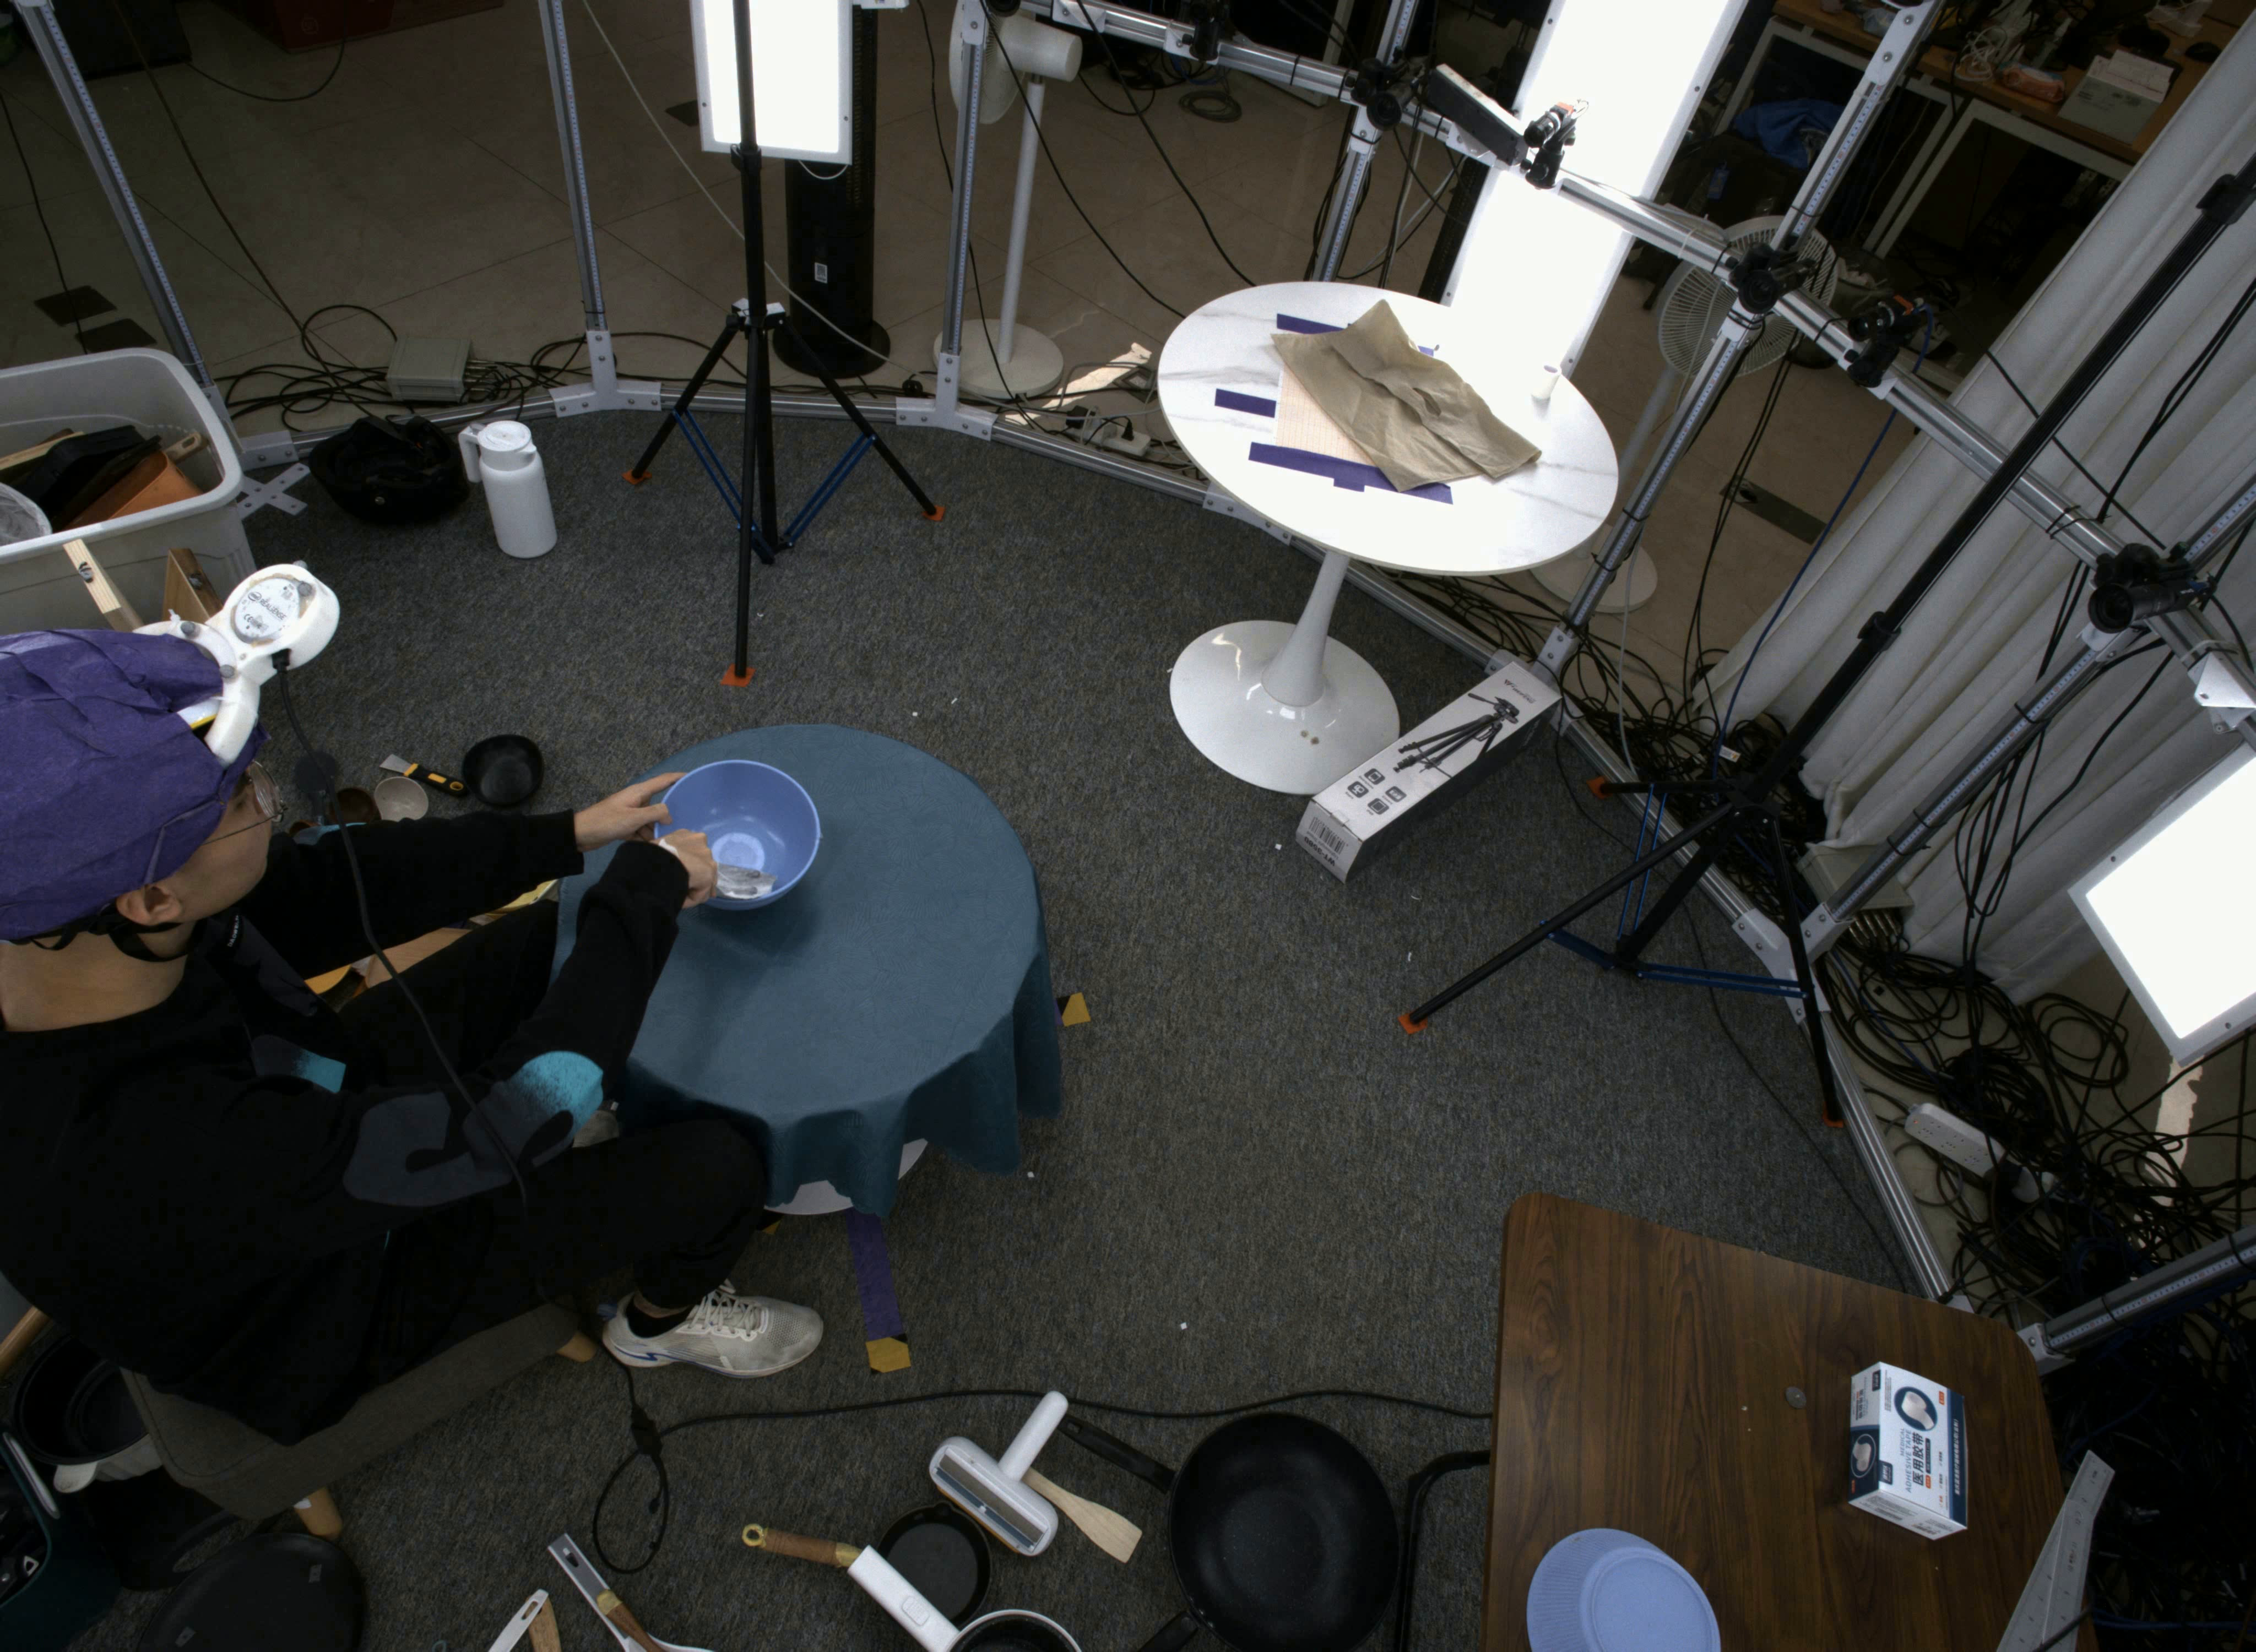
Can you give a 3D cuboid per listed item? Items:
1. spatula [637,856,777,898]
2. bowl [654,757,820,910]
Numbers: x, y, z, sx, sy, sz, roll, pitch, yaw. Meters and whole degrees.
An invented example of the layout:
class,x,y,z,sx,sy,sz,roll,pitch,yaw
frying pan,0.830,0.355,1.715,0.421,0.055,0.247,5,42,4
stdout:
class,x,y,z,sx,sy,sz,roll,pitch,yaw
spatula,-0.471,0.054,1.421,0.098,0.364,0.045,14,85,-3
bowl,-0.486,0.023,1.607,0.197,0.096,0.194,9,60,-15
